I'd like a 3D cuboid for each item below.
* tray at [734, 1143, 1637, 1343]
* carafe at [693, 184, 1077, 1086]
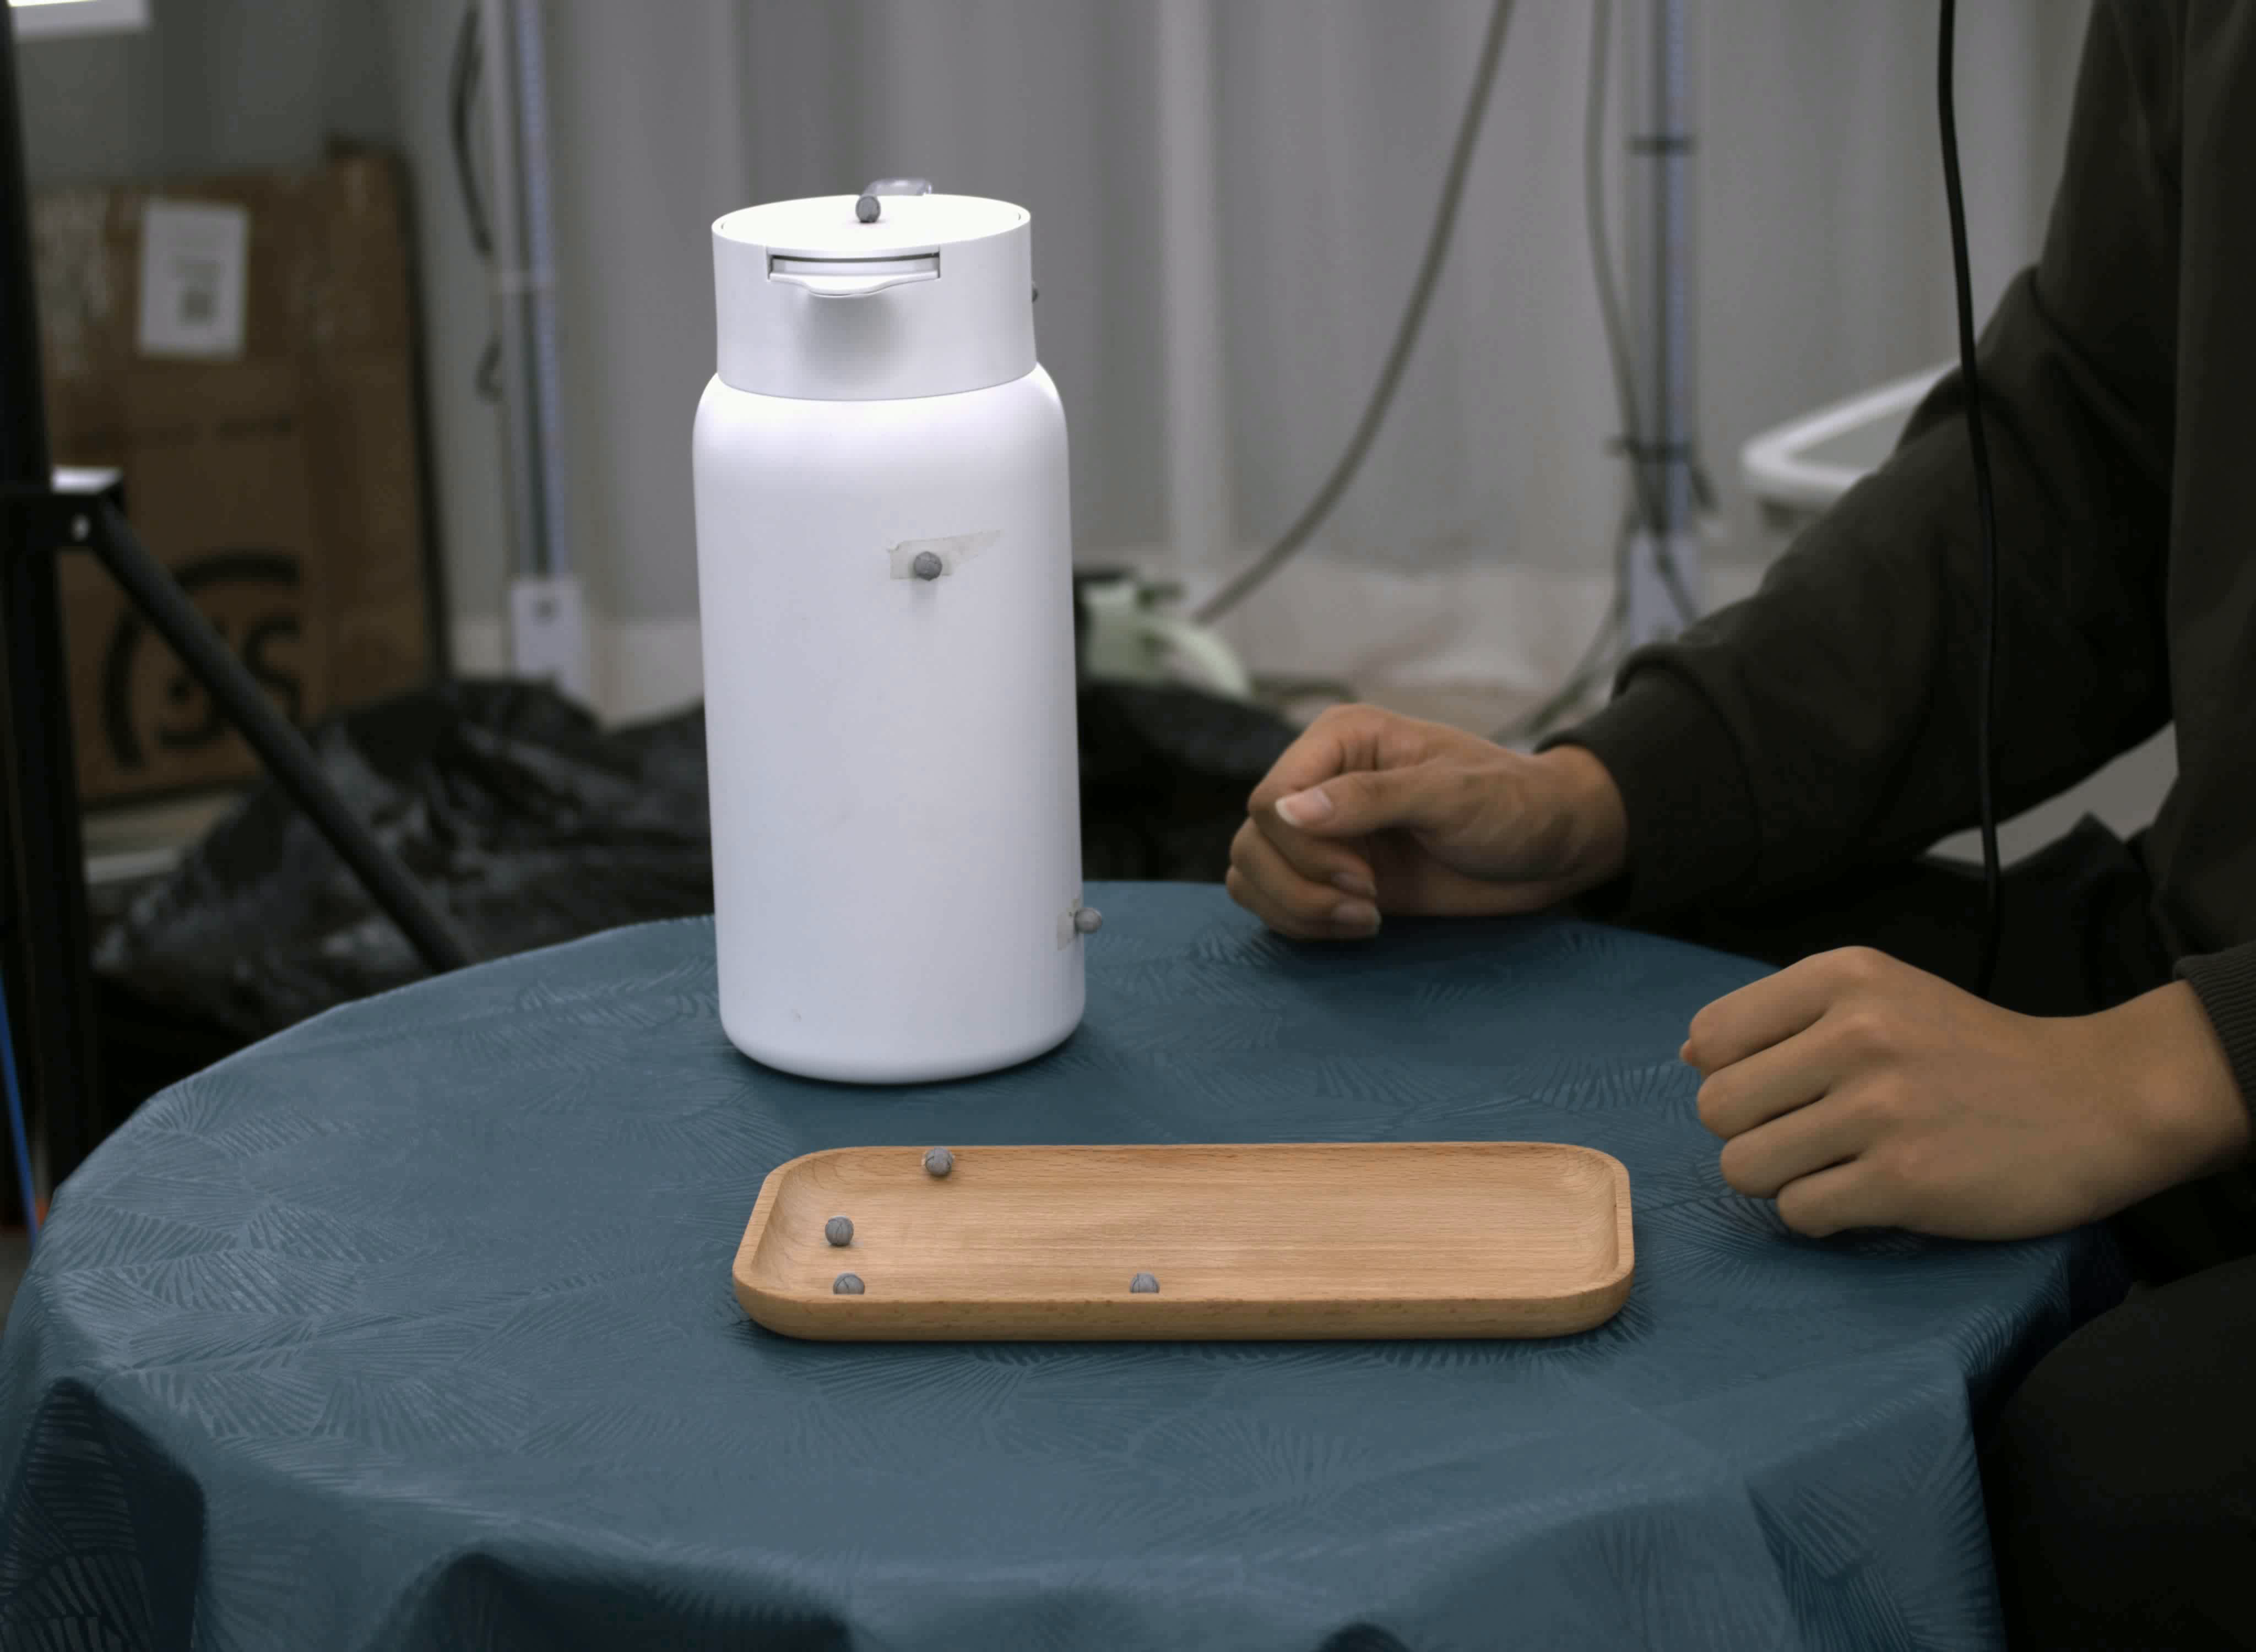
[{"bbox_3d":[0.018,0.118,1.496,0.251,0.023,0.130,0,18,7],"label":"tray"},{"bbox_3d":[-0.076,-0.064,1.696,0.124,0.269,0.173,-2,15,6],"label":"carafe"}]
